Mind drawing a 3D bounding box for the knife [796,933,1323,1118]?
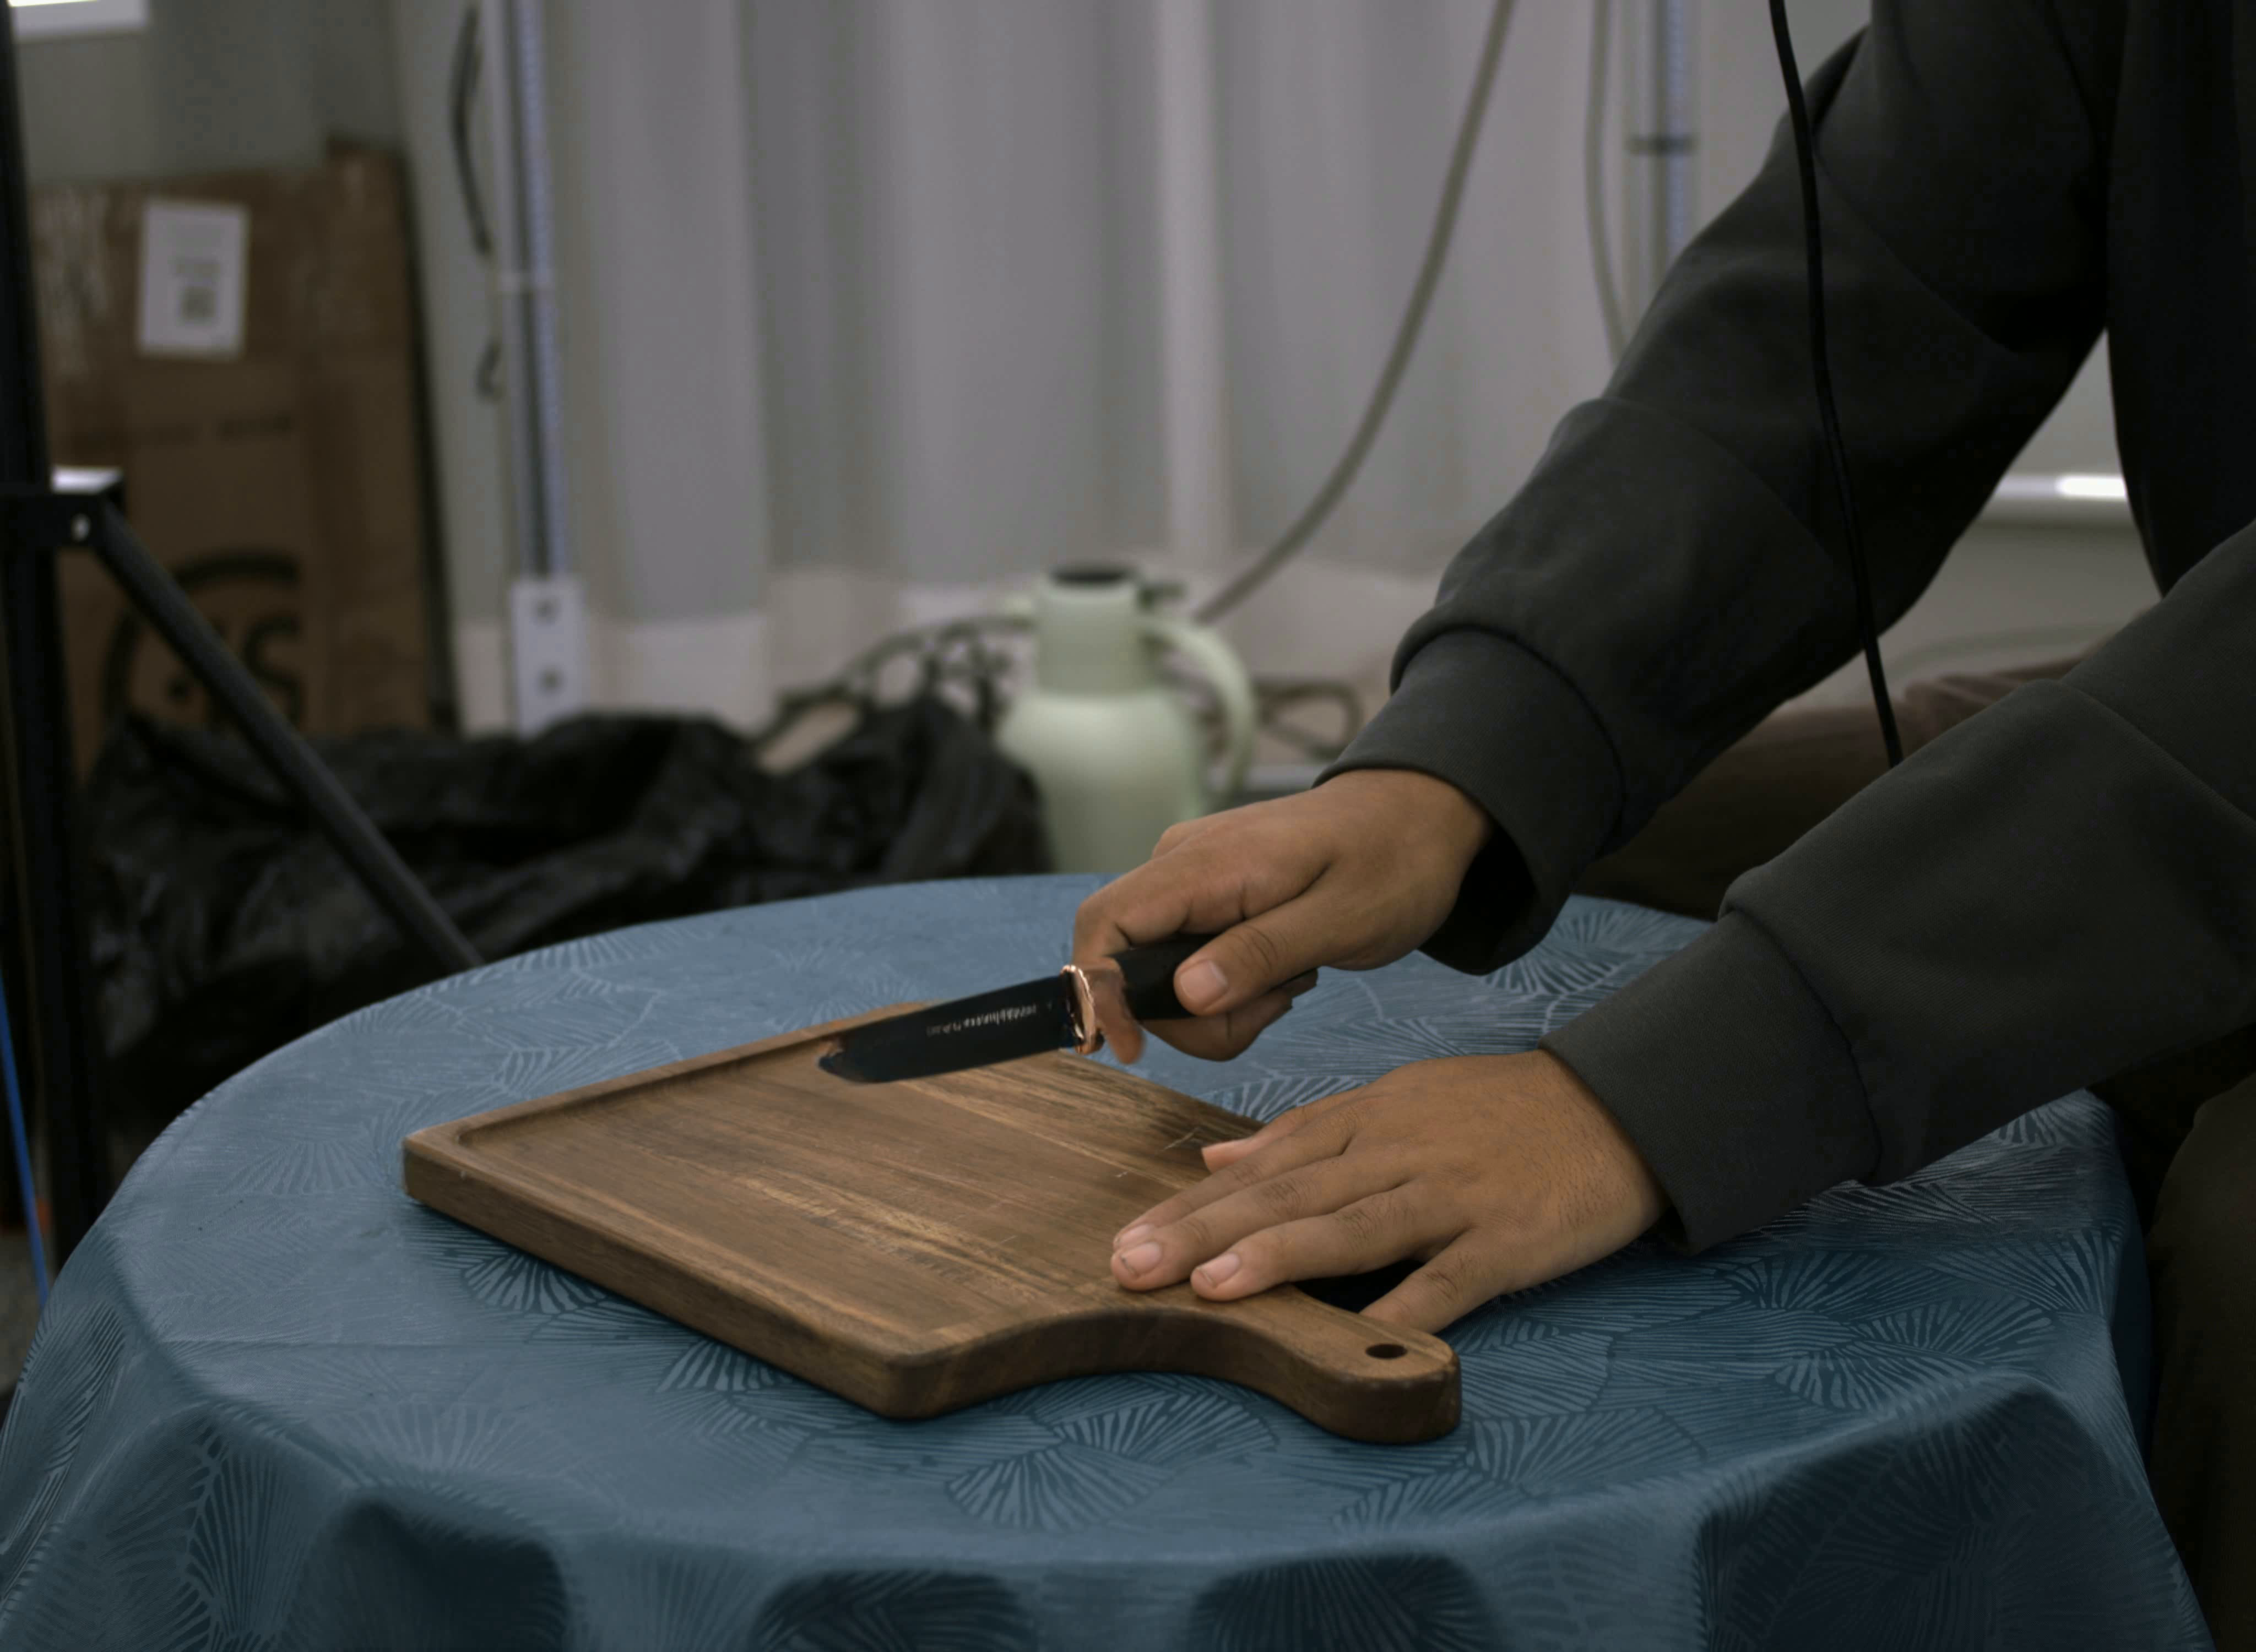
[{"bbox_3d":[-0.017,0.056,1.527,0.017,0.026,0.220,-7,3,43],"label":"knife"}]

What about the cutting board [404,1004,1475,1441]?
[{"bbox_3d":[-0.030,0.115,1.496,0.196,0.023,0.360,-14,20,-36],"label":"cutting board"}]
